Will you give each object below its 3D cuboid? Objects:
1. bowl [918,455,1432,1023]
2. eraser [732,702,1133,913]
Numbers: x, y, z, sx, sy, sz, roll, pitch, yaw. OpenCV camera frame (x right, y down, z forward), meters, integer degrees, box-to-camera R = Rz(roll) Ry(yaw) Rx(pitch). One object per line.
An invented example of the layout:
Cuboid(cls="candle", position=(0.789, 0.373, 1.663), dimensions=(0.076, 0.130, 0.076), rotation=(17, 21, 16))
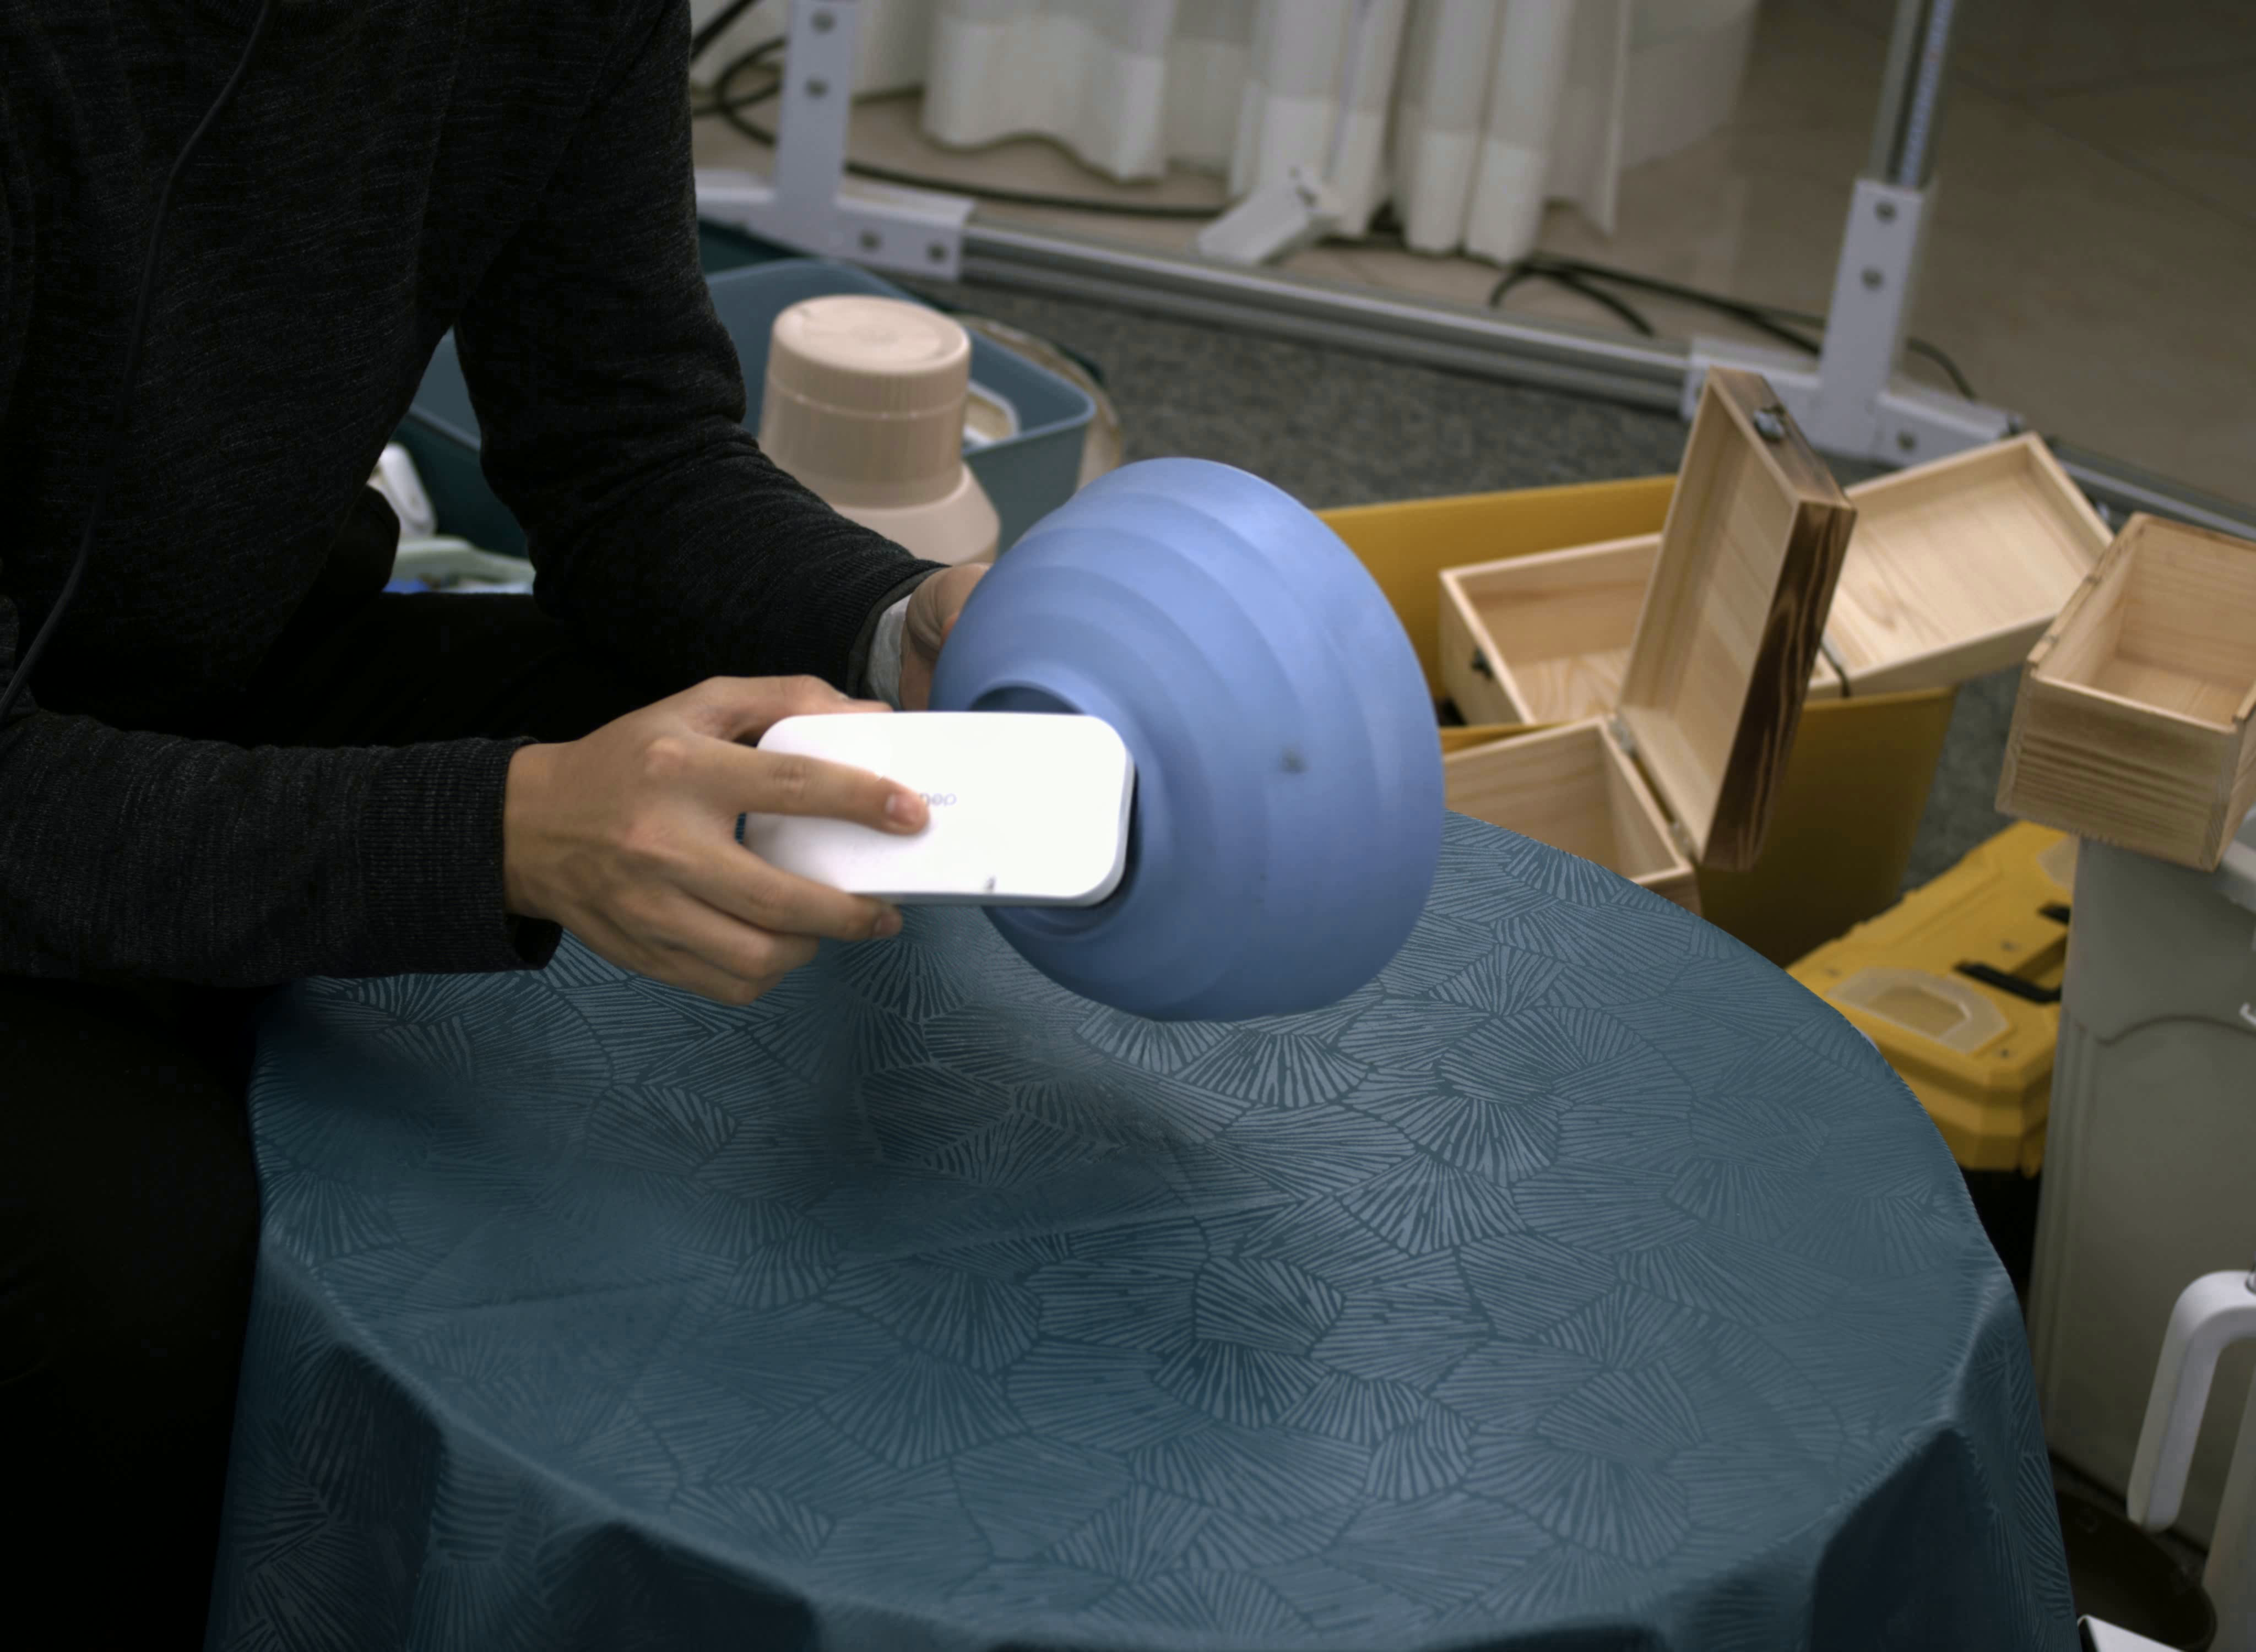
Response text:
Cuboid(cls="bowl", position=(-0.003, -0.018, 1.778), dimensions=(0.198, 0.196, 0.095), rotation=(28, 34, 36))
Cuboid(cls="eraser", position=(-0.063, -0.005, 1.715), dimensions=(0.131, 0.064, 0.034), rotation=(1, -18, 21))
